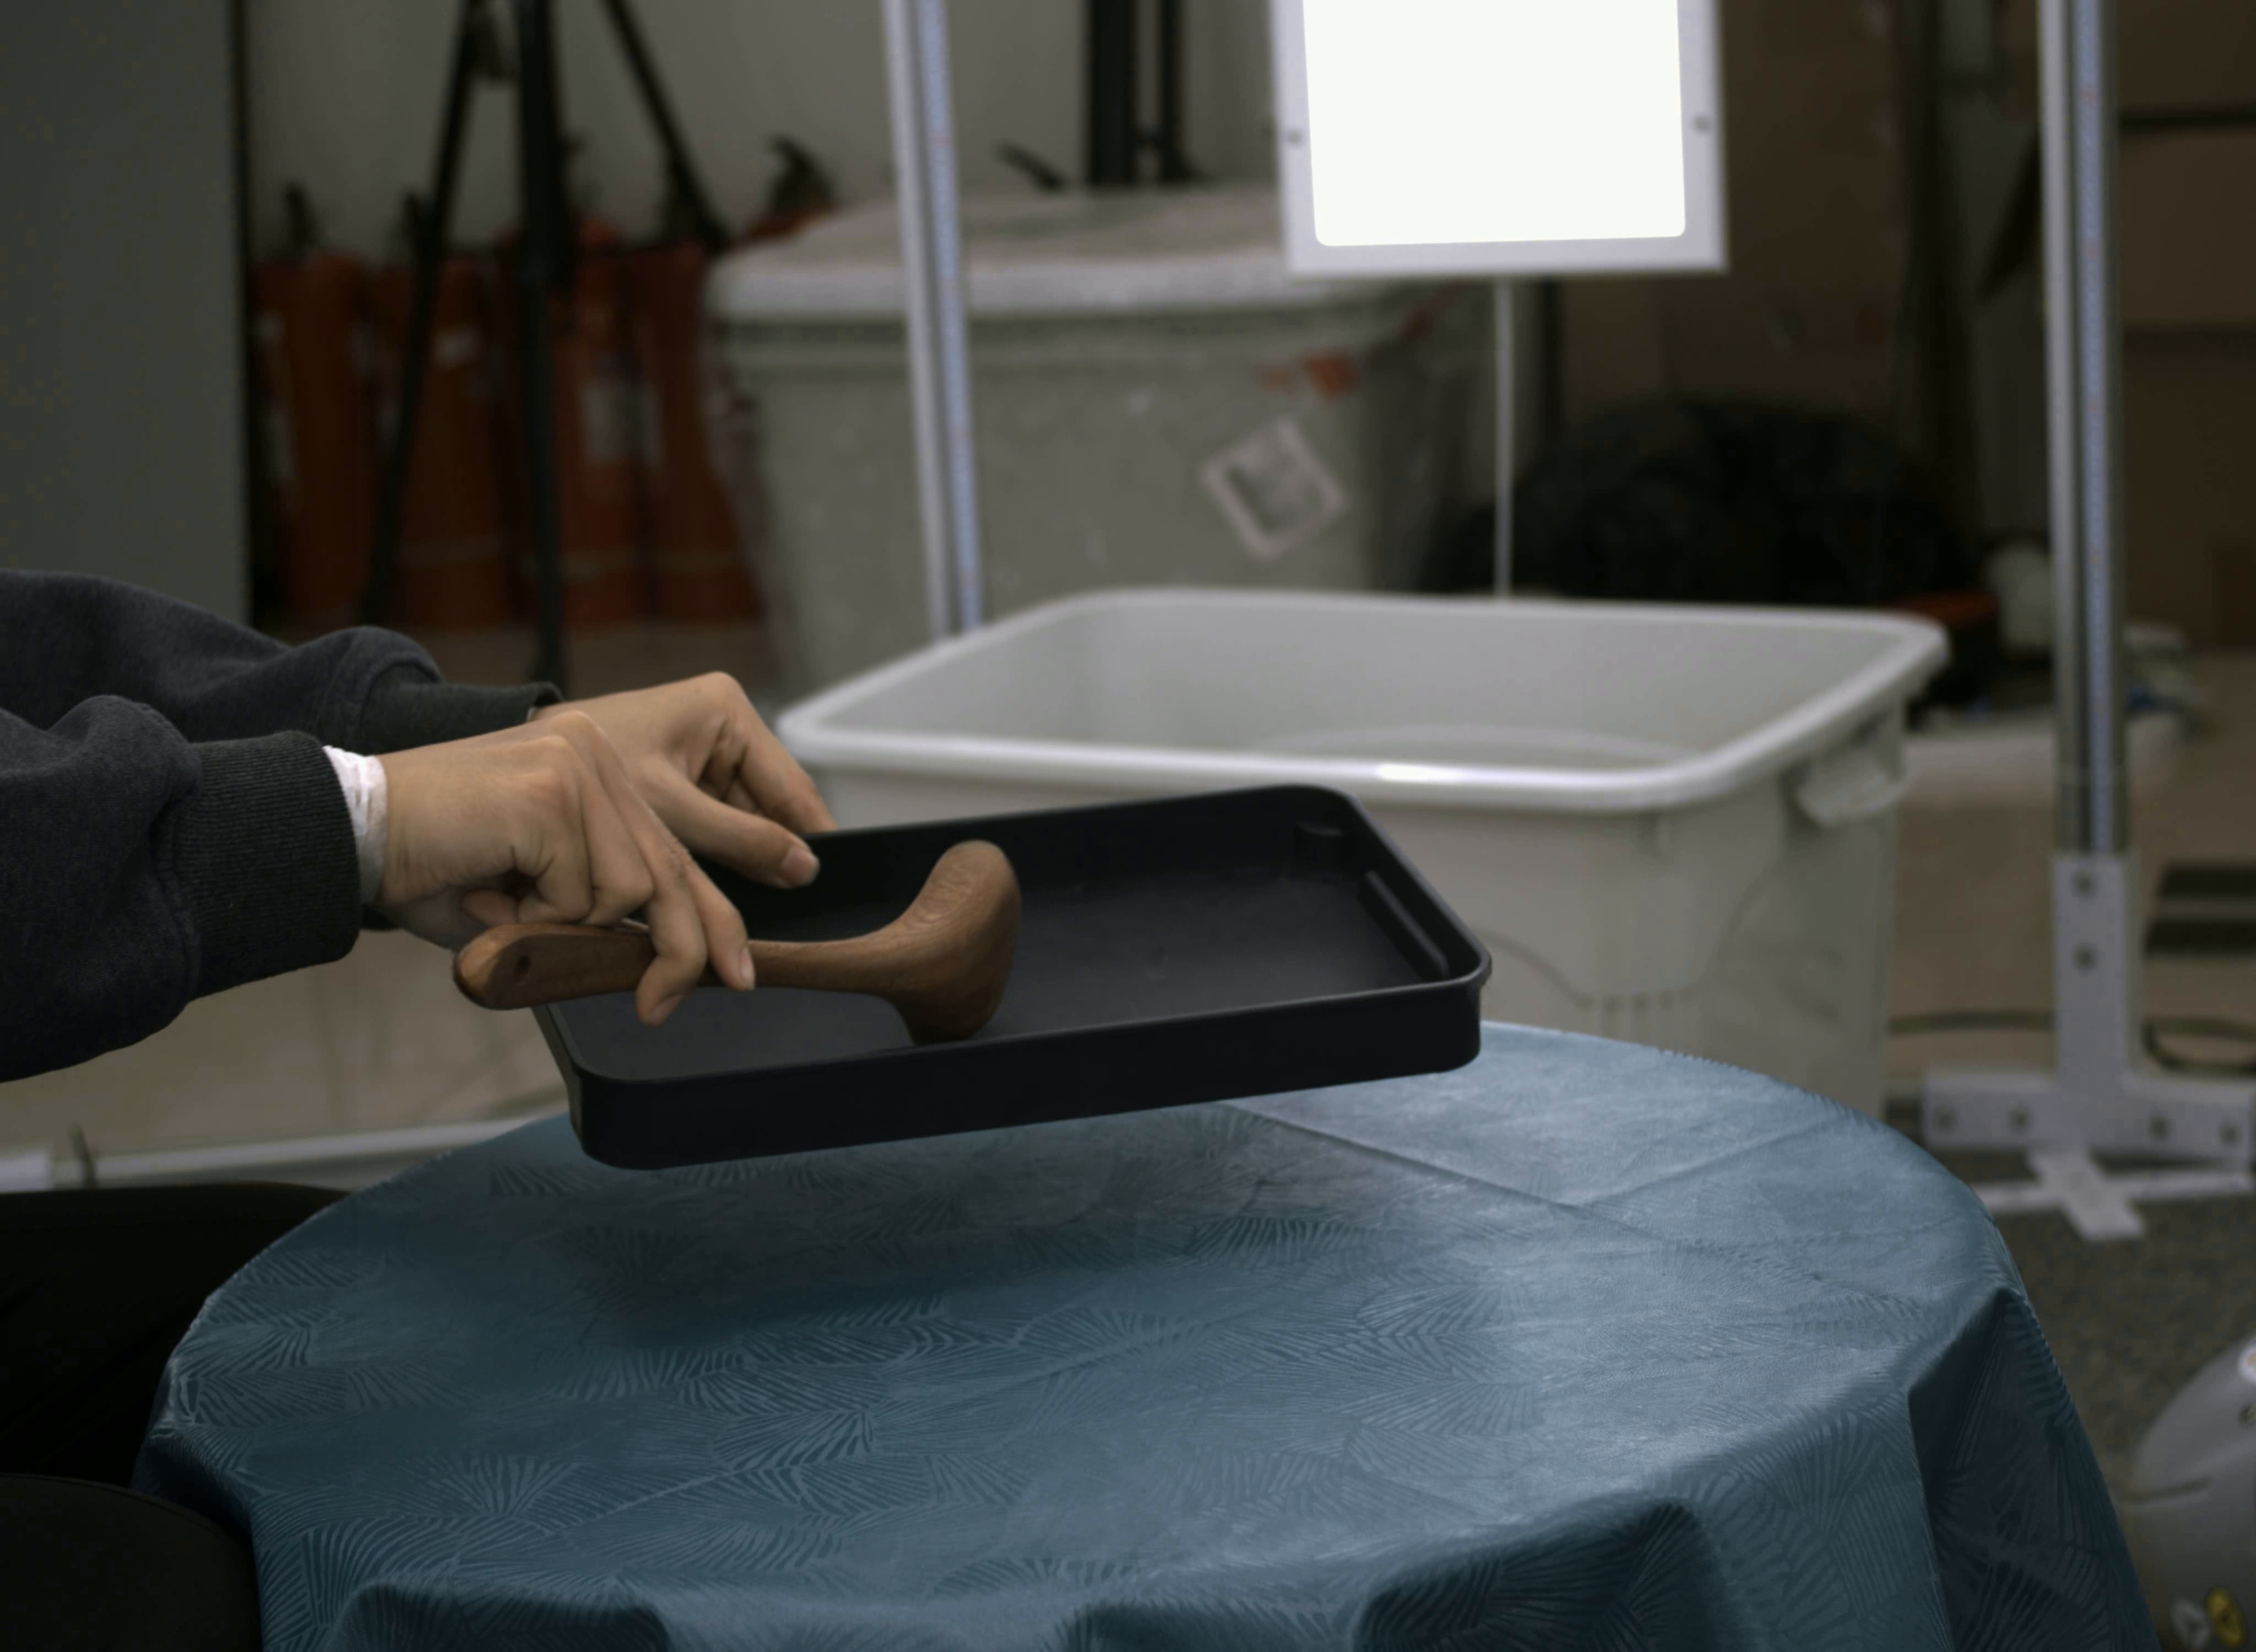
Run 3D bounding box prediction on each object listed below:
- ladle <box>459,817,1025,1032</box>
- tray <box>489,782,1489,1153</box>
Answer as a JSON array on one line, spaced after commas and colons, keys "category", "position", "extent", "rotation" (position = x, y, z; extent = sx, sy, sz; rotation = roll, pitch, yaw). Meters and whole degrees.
[{"category": "ladle", "position": [-0.127, 0.037, 1.788], "extent": [0.253, 0.077, 0.066], "rotation": [-1, 12, -43]}, {"category": "tray", "position": [-0.050, 0.045, 1.889], "extent": [0.313, 0.037, 0.186], "rotation": [-5, 24, -14]}]
